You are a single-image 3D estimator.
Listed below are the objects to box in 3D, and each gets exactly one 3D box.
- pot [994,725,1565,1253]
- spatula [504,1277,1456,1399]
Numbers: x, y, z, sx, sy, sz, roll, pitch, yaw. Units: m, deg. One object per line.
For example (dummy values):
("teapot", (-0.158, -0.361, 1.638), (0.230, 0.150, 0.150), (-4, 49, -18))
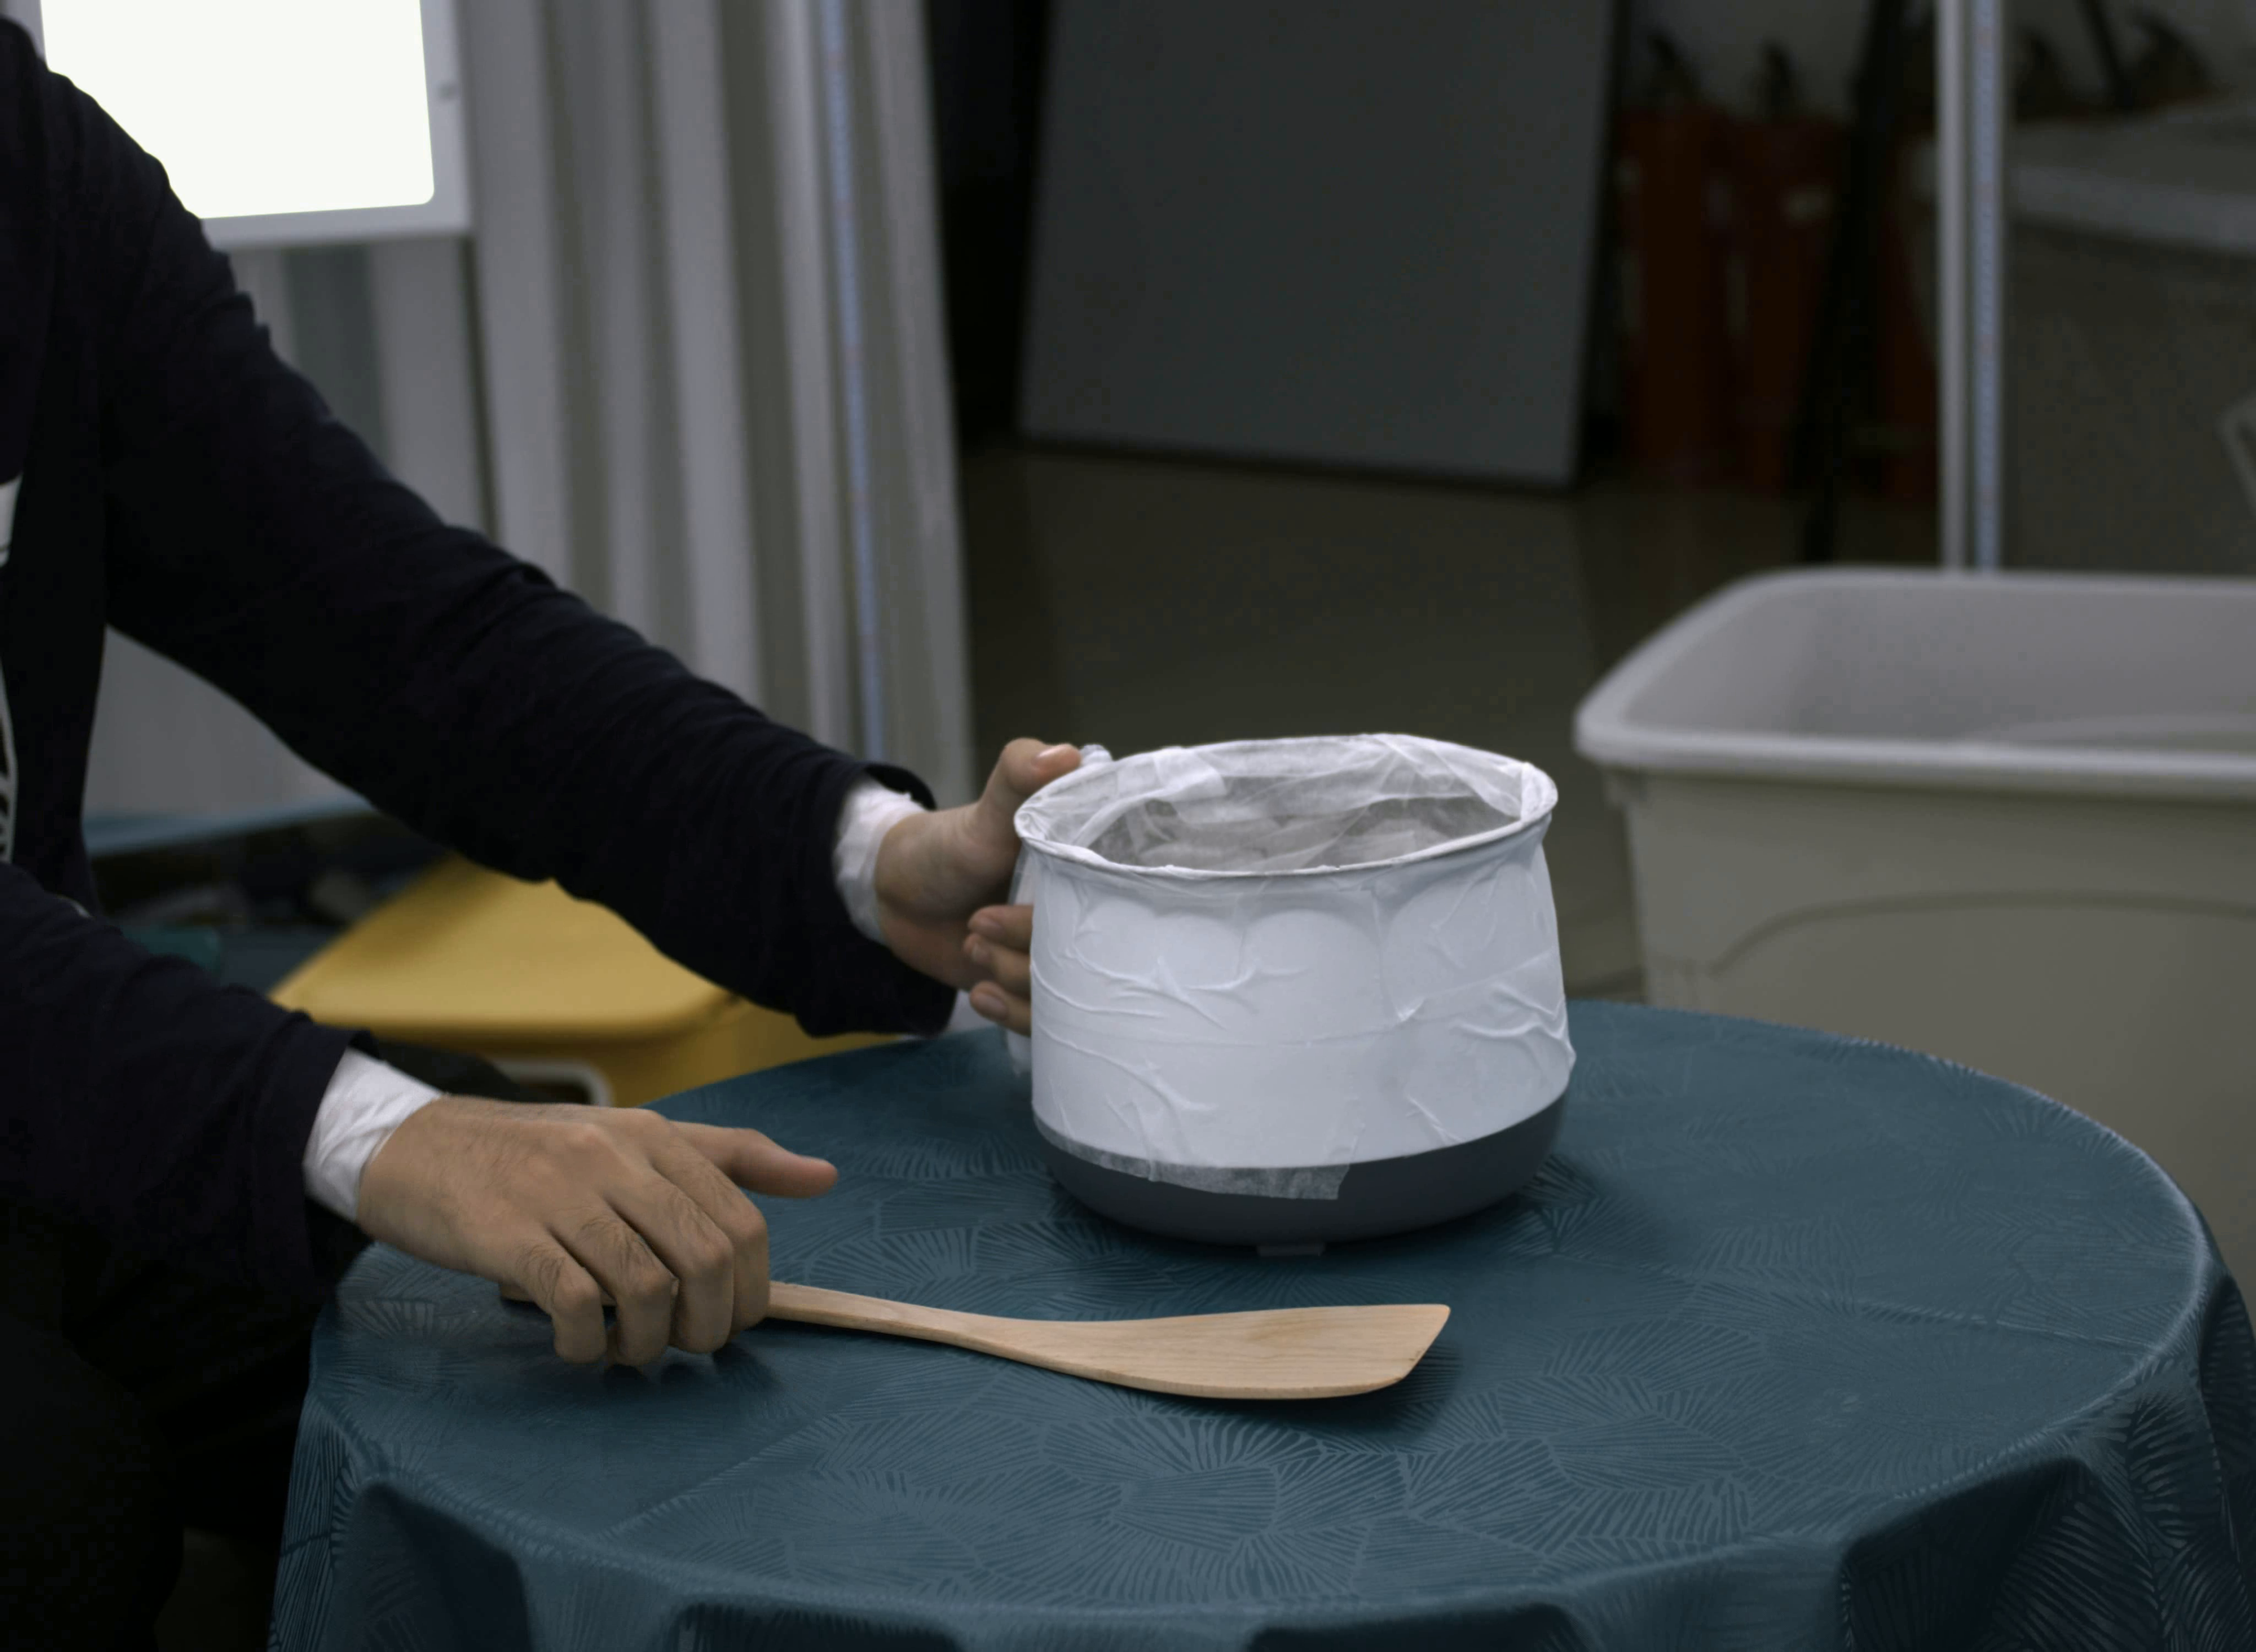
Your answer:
("pot", (0.036, 0.046, 1.767), (0.175, 0.138, 0.236), (-13, 18, -39))
("spatula", (-0.050, 0.150, 1.639), (0.328, 0.017, 0.079), (2, 14, 28))
